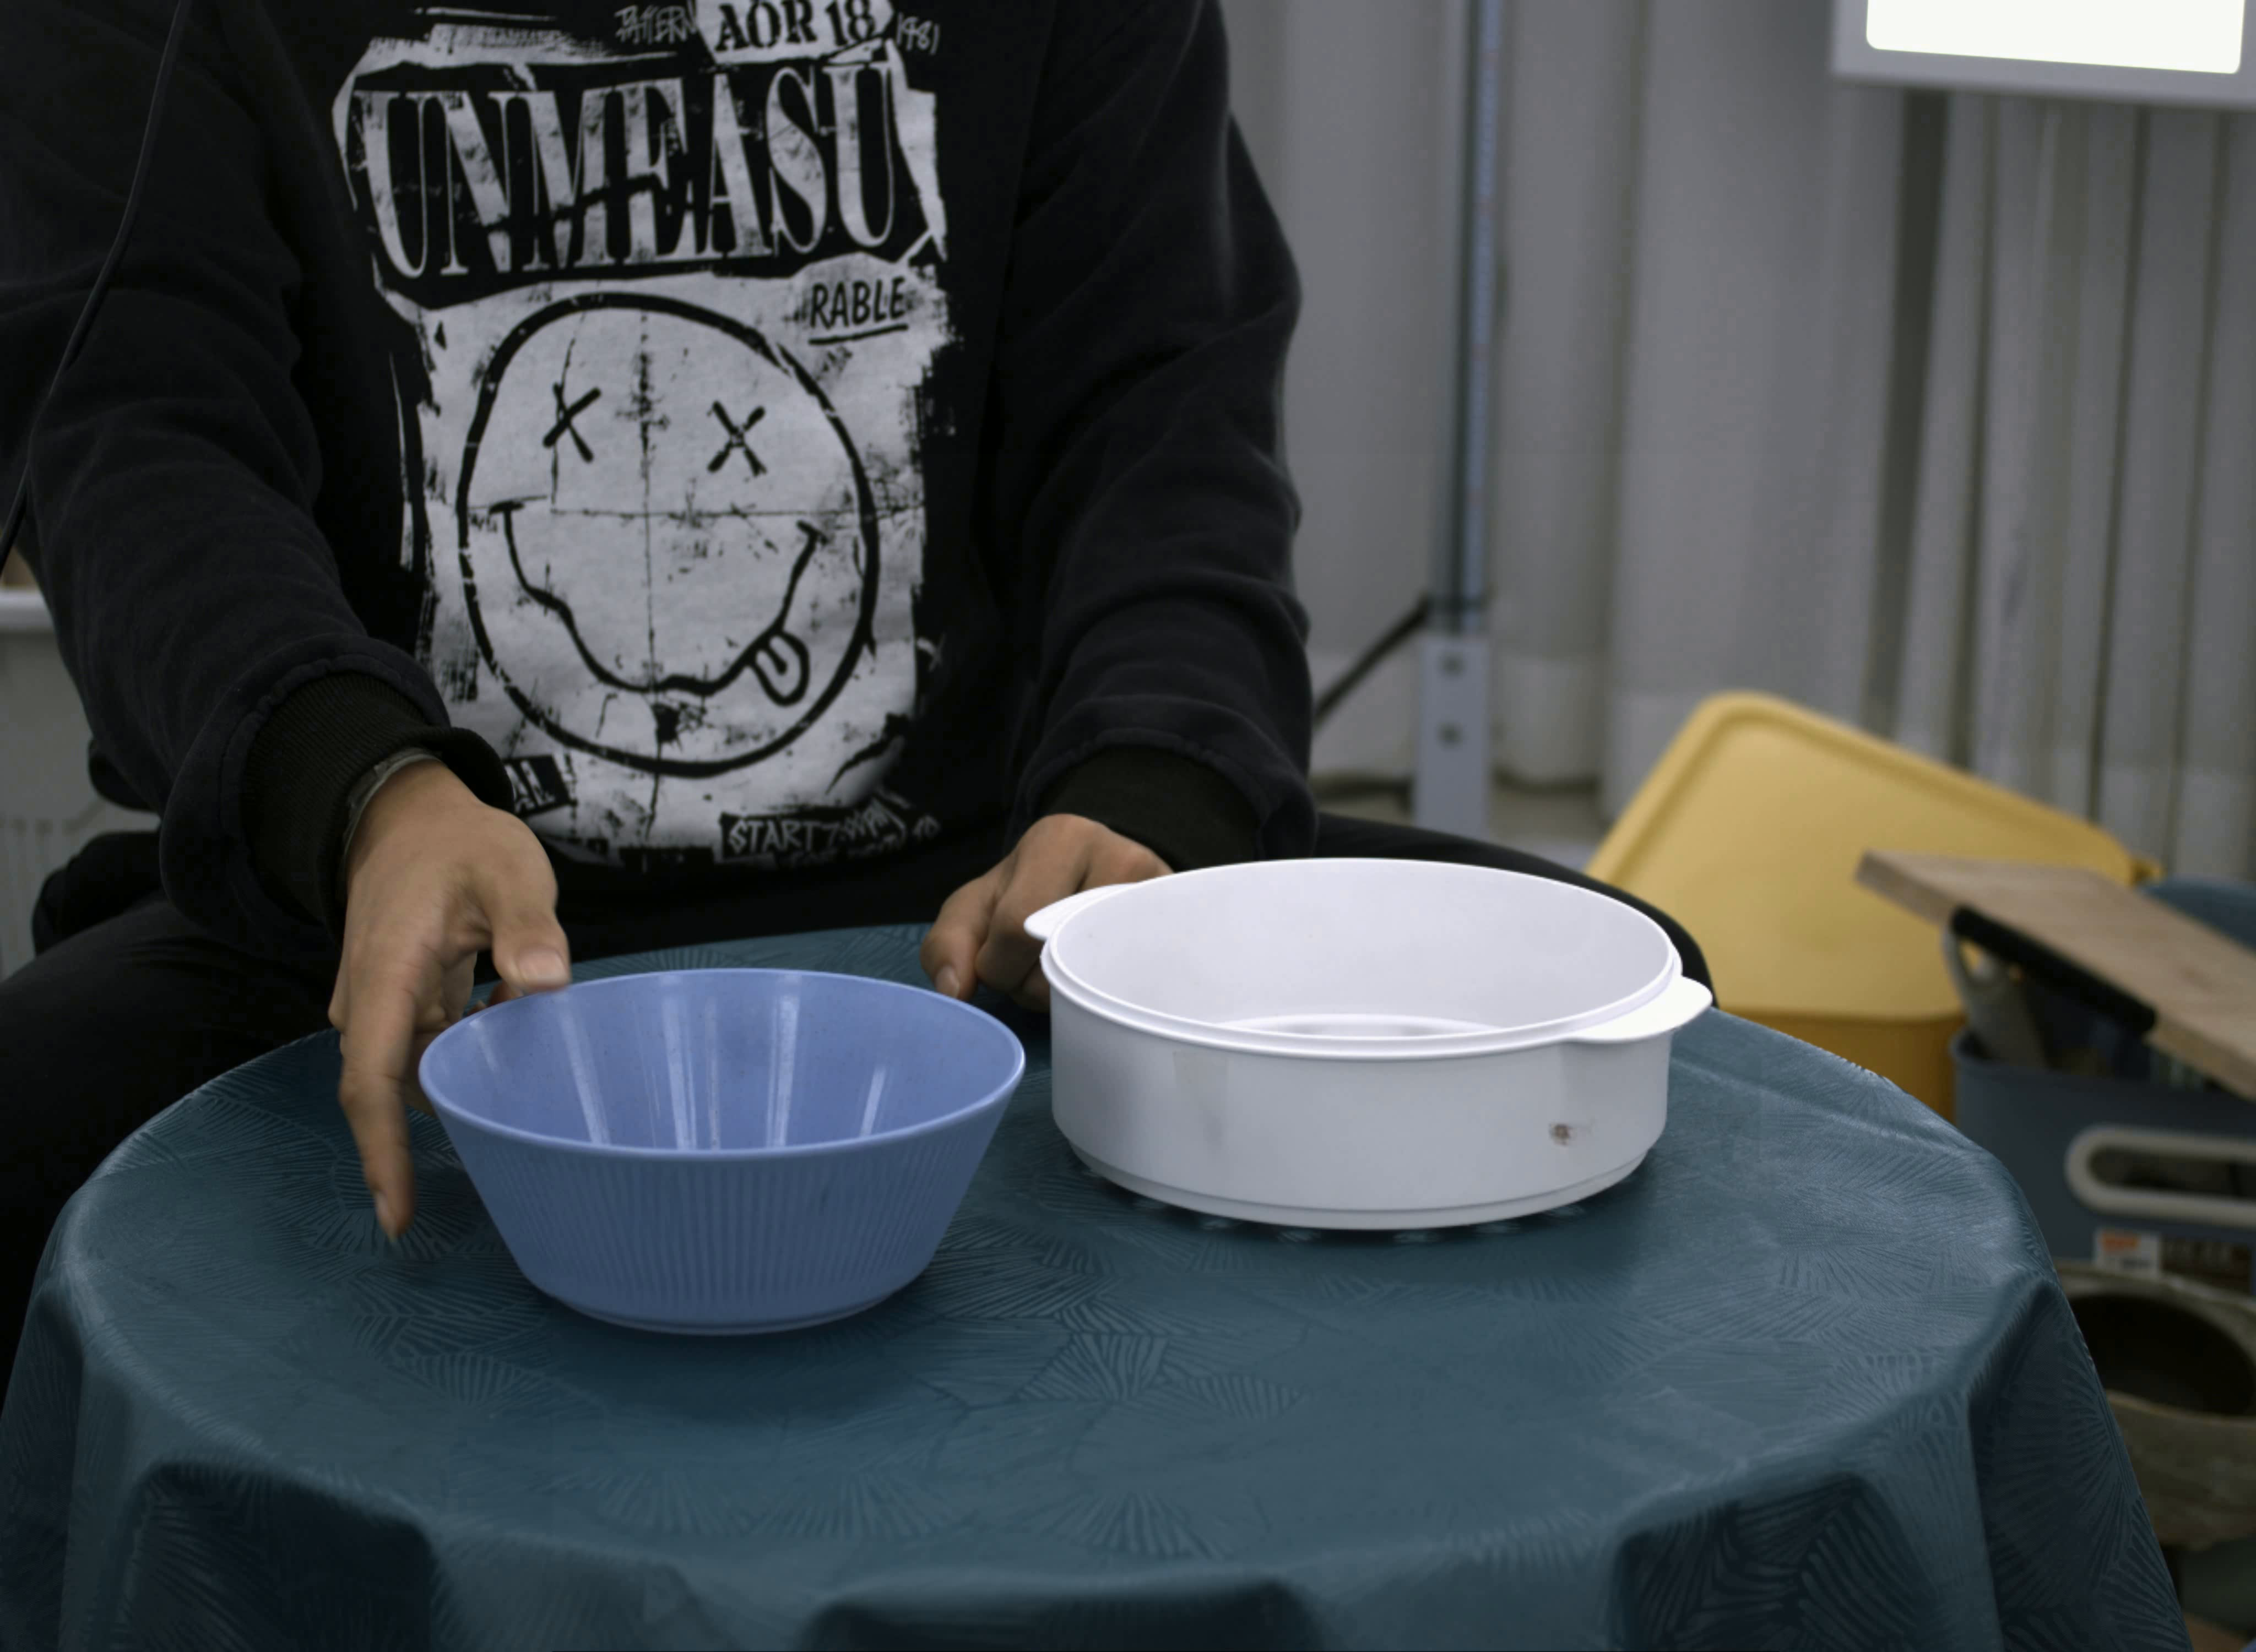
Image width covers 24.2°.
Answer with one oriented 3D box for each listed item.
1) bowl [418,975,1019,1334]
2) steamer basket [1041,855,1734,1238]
[{"bbox_3d":[-0.119,0.098,1.541,0.175,0.071,0.175,1,15,0],"label":"bowl"},{"bbox_3d":[0.078,0.069,1.658,0.228,0.070,0.202,13,20,29],"label":"steamer basket"}]
